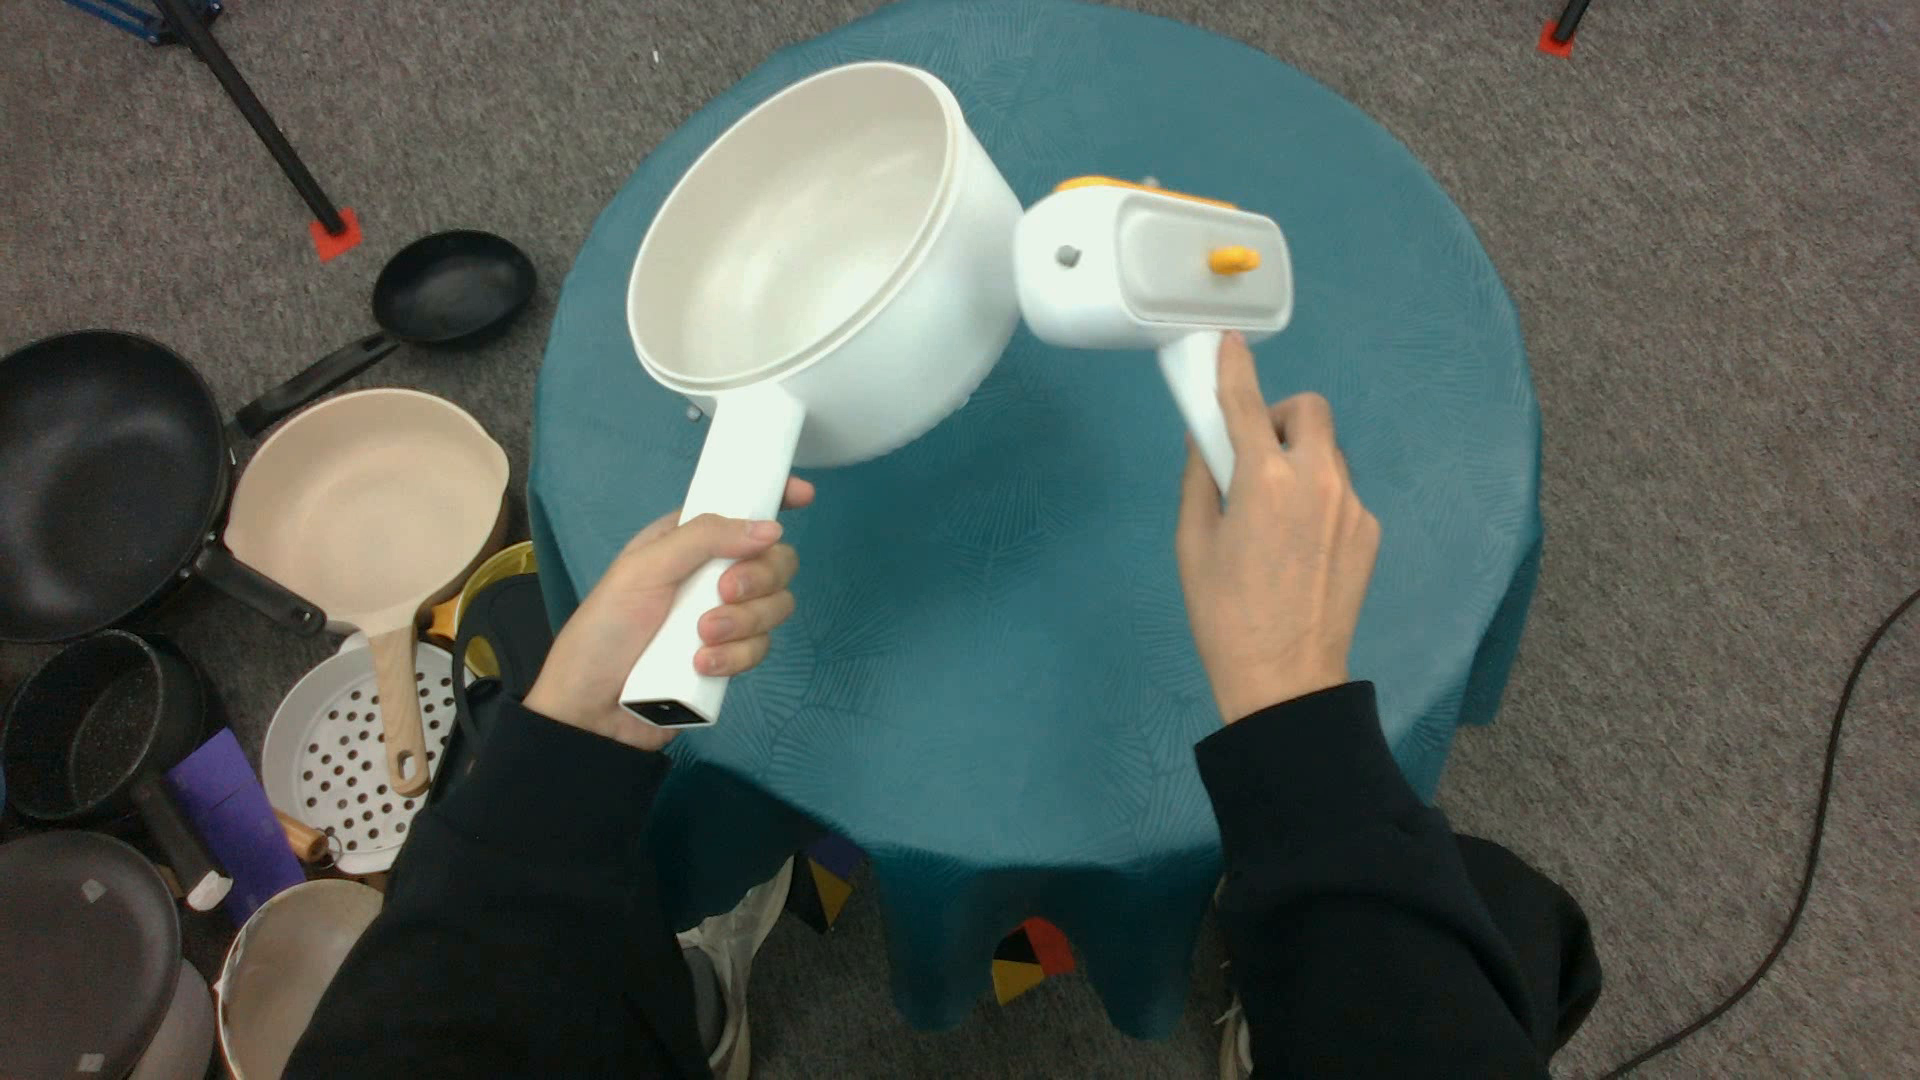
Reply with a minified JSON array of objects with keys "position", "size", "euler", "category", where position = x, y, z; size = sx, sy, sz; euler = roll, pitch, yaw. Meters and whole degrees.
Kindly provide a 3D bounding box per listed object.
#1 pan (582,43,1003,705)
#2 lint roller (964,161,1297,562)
[{"position":[-0.084,-0.077,0.666],"size":[0.200,0.102,0.356],"euler":[-7,57,32],"category":"pan"},{"position":[0.093,-0.077,0.614],"size":[0.074,0.193,0.192],"euler":[-17,92,32],"category":"lint roller"}]
